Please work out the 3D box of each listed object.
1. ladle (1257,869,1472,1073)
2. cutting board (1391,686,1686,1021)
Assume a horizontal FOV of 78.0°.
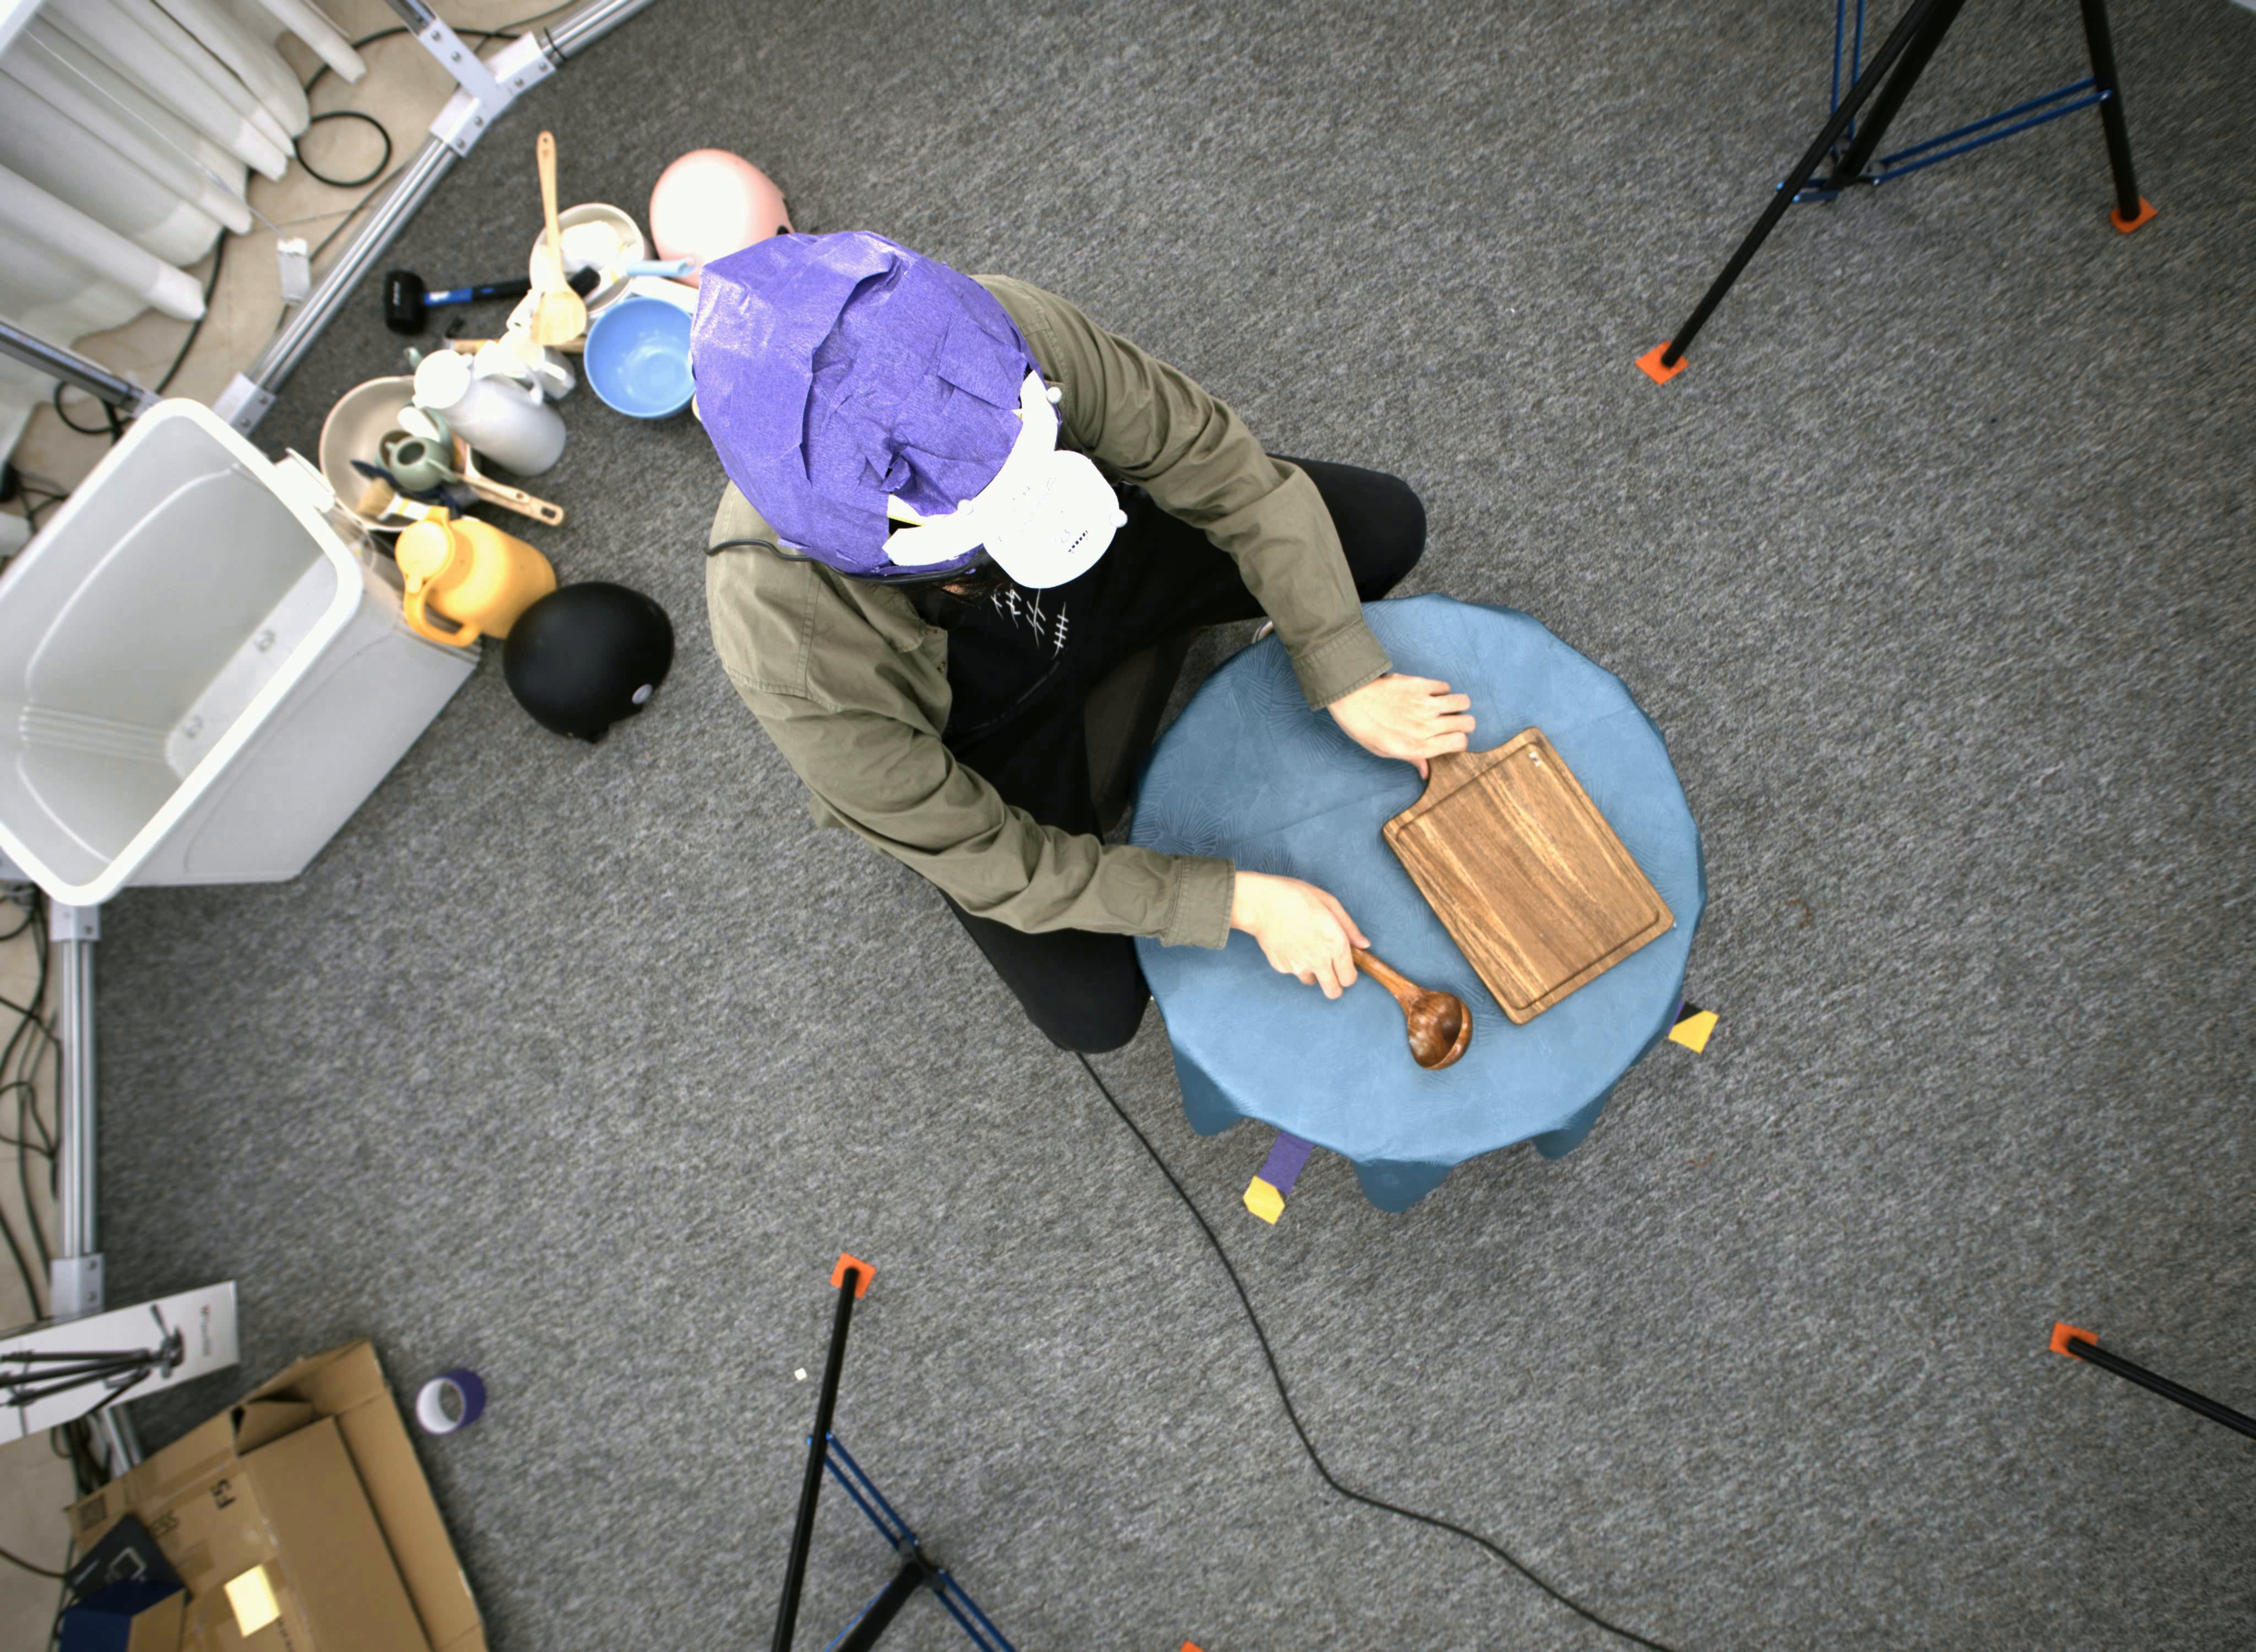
[{"bbox_3d":[0.233,0.144,1.415,0.273,0.075,0.083,38,112,9],"label":"ladle"},{"bbox_3d":[0.393,0.002,1.414,0.202,0.023,0.350,-33,84,7],"label":"cutting board"}]
